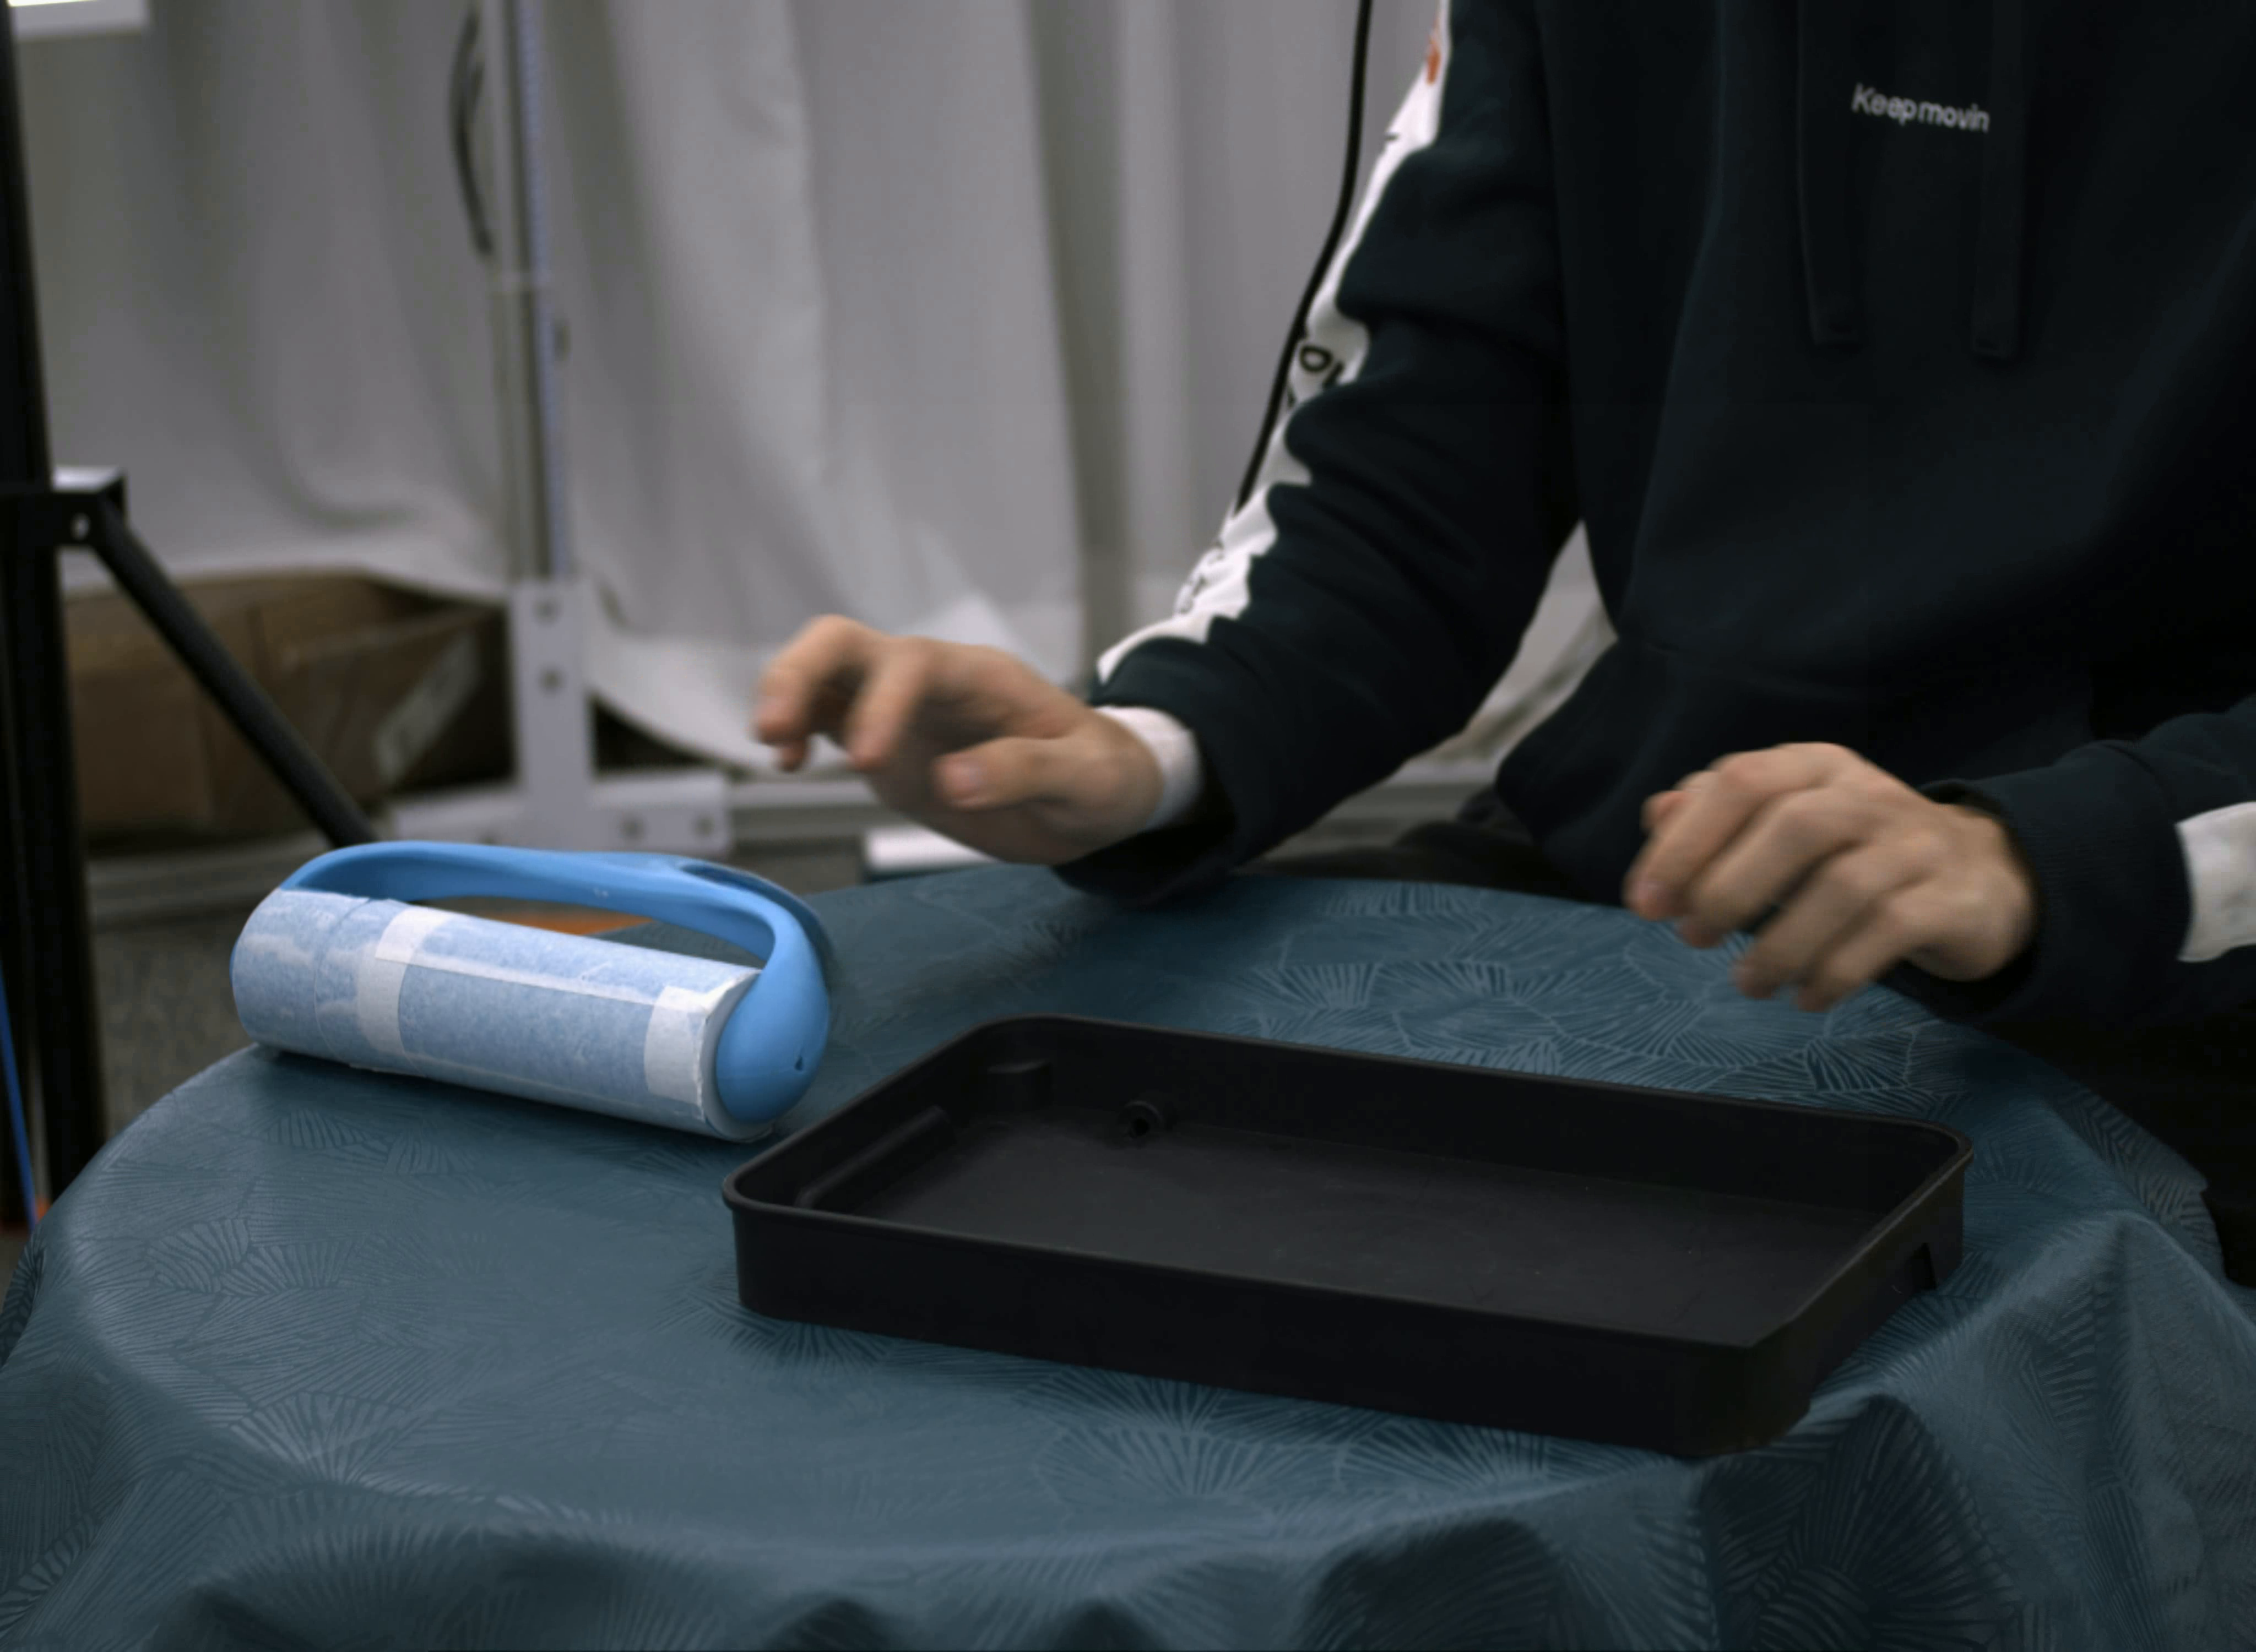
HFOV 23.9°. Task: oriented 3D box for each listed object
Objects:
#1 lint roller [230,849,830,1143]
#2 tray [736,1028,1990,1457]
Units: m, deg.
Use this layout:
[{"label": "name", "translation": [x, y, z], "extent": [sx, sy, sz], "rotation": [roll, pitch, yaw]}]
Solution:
[{"label": "lint roller", "translation": [-0.160, 0.042, 1.717], "extent": [0.233, 0.068, 0.177], "rotation": [6, 19, 34]}, {"label": "tray", "translation": [0.066, 0.111, 1.473], "extent": [0.323, 0.037, 0.181], "rotation": [4, 17, 28]}]
